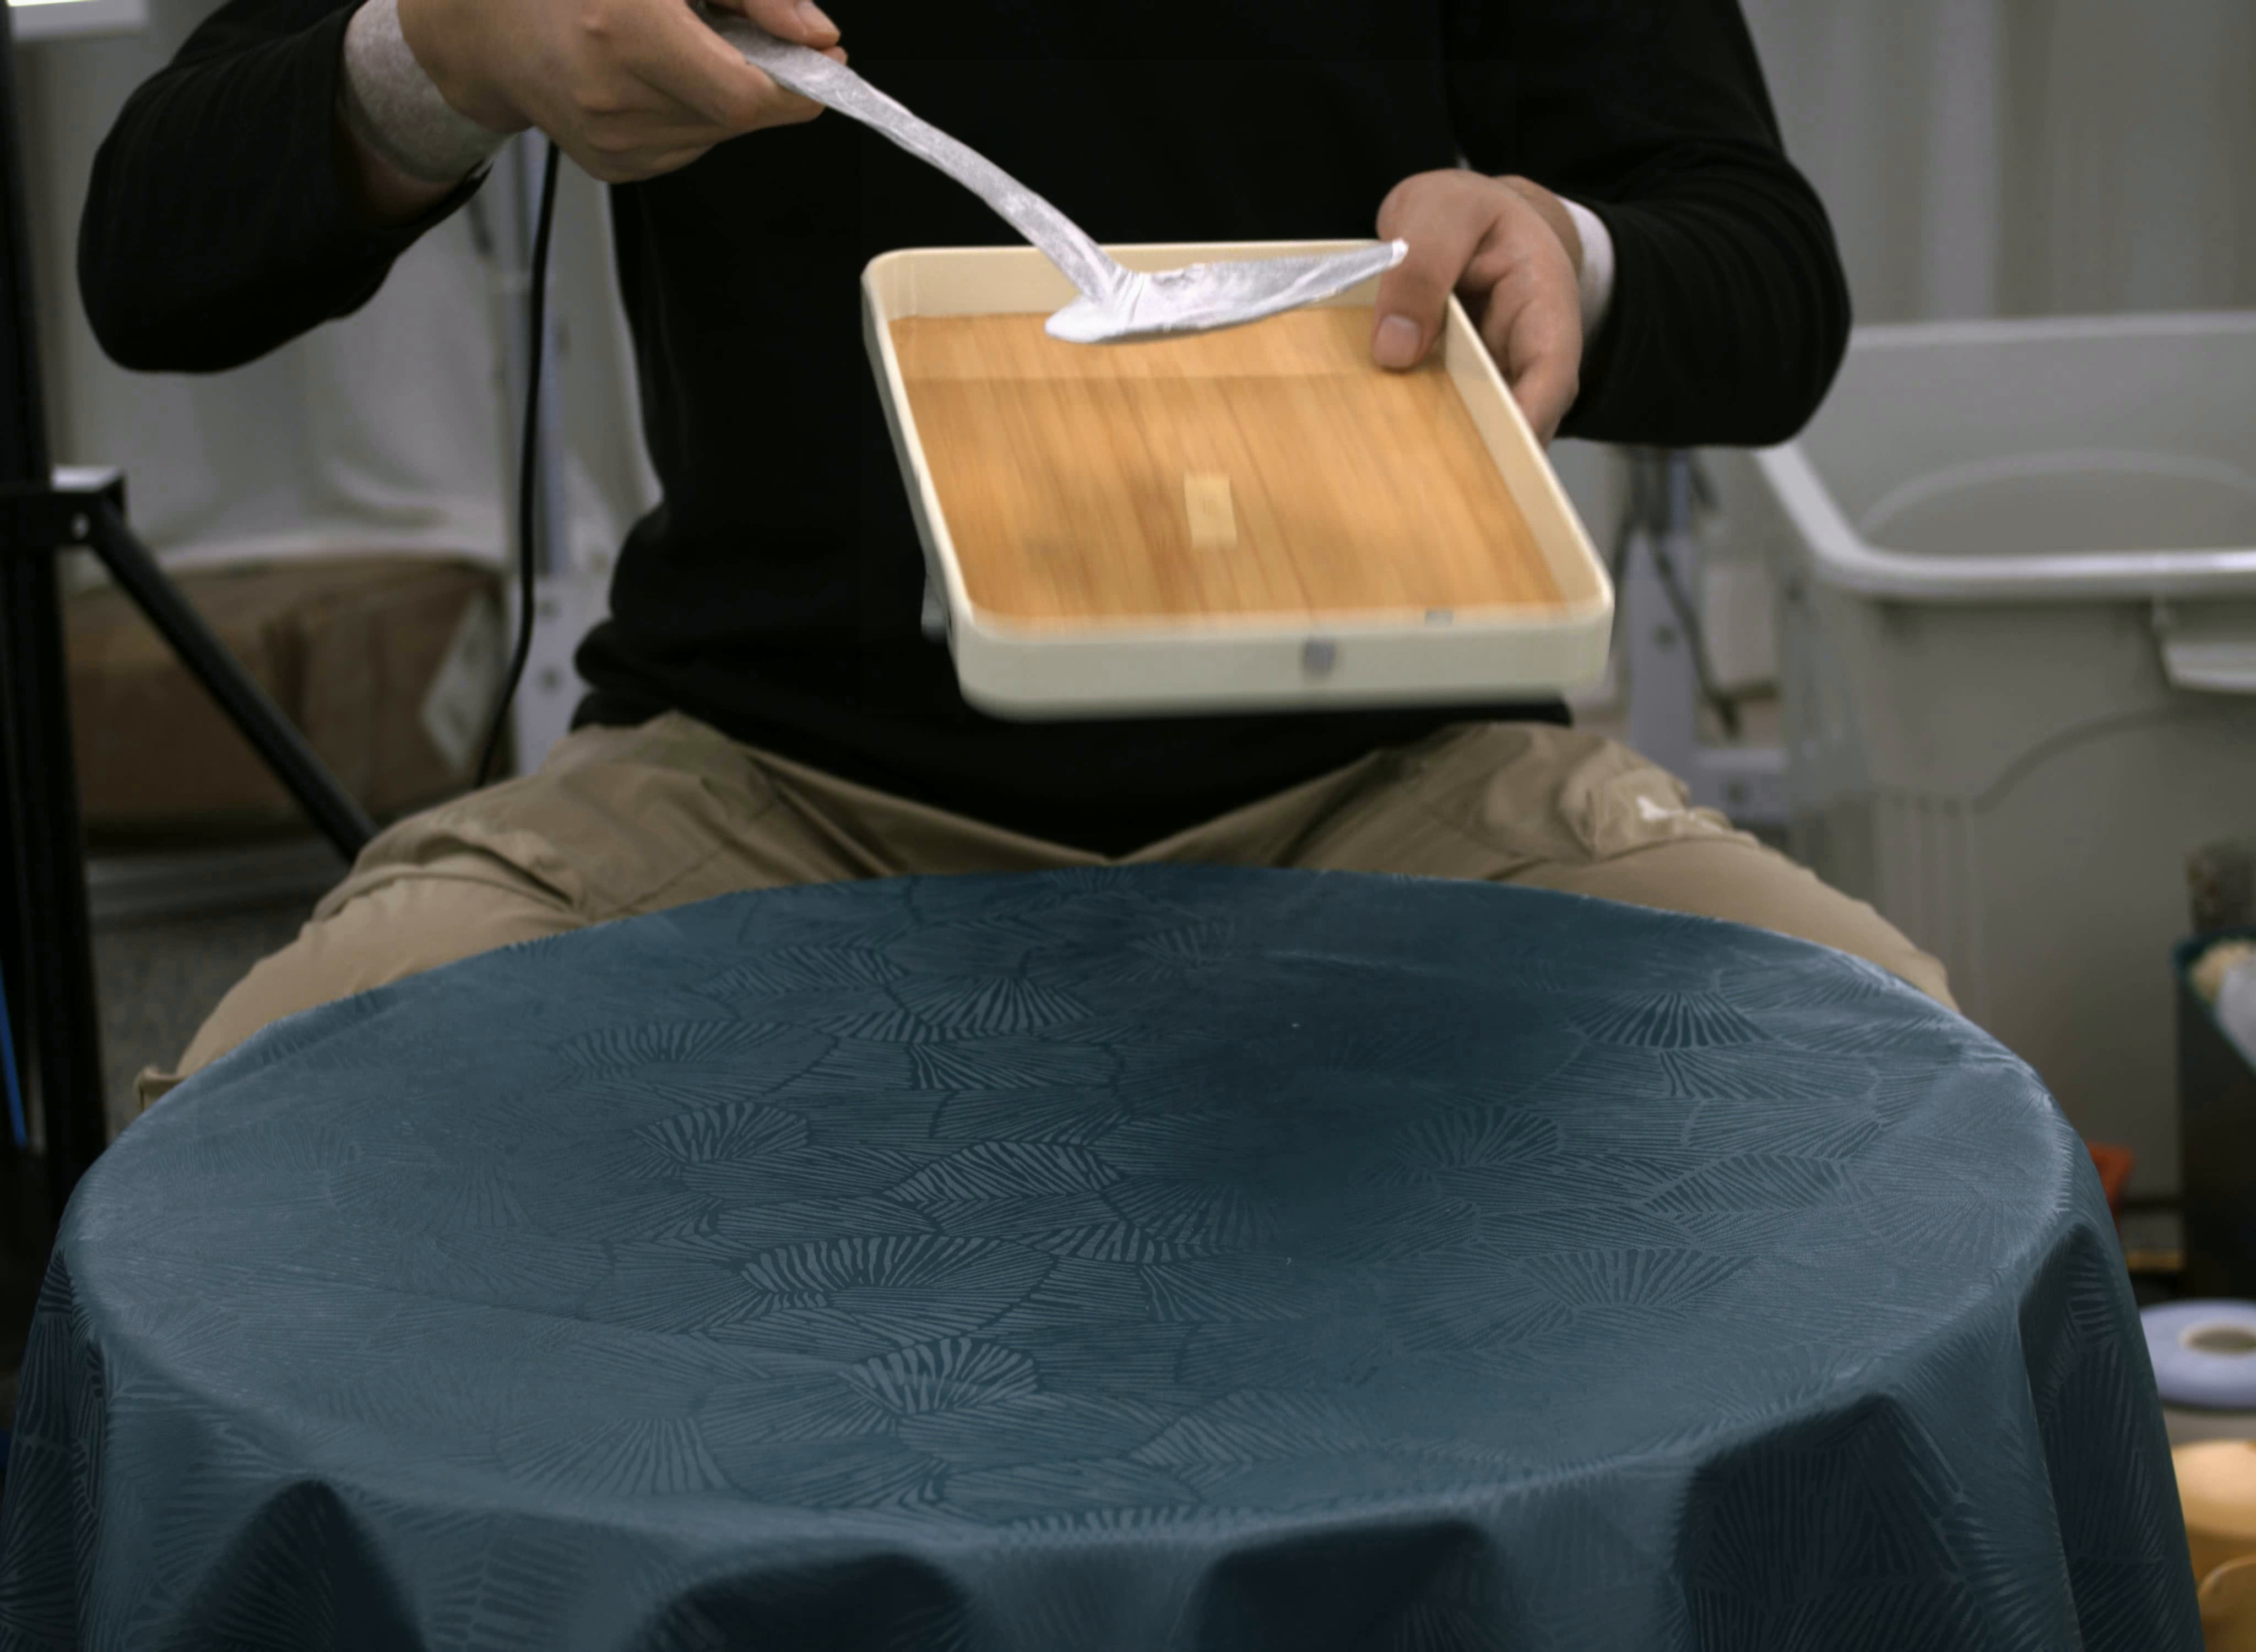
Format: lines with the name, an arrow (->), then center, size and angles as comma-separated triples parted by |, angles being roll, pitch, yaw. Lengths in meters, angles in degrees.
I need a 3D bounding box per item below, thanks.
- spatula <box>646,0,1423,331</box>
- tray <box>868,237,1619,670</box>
spatula -> -0.053, -0.211, 1.624 | 0.097, 0.044, 0.373 | -22, 37, -29
tray -> 0.027, -0.118, 1.624 | 0.189, 0.027, 0.304 | -2, 25, -7
